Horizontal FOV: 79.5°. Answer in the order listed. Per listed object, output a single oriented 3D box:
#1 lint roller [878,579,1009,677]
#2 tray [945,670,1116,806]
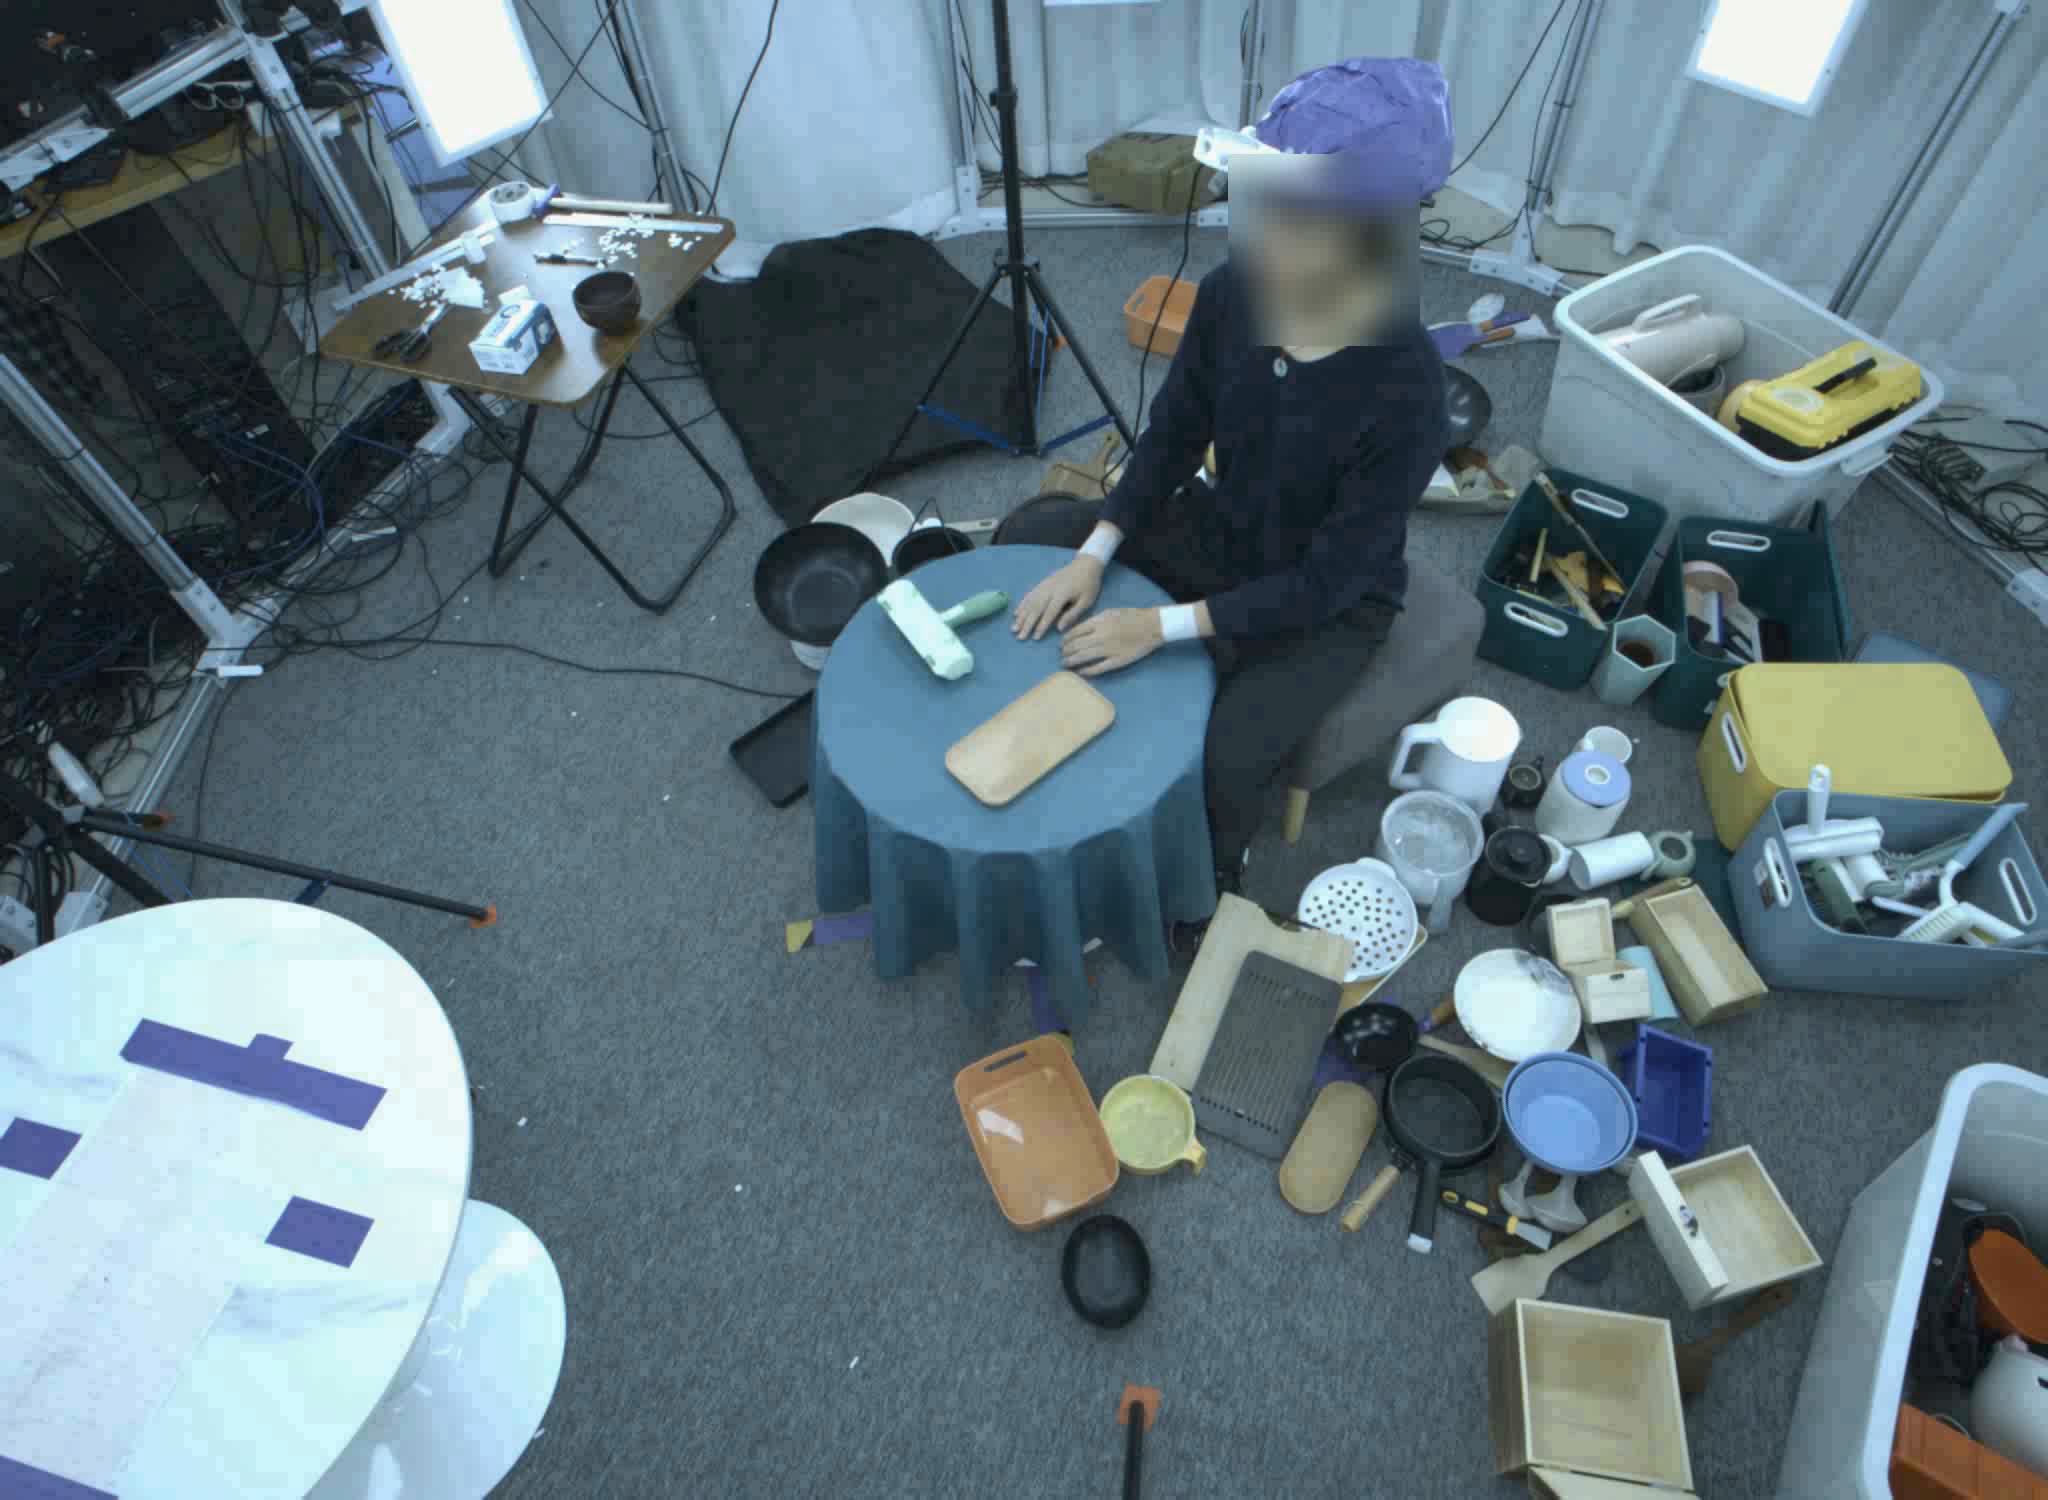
[{"bbox_3d":[-0.105,-0.223,1.895,0.184,0.083,0.195,-33,61,-12],"label":"lint roller"},{"bbox_3d":[0.011,-0.019,1.790,0.252,0.023,0.128,-36,63,-22],"label":"tray"}]
